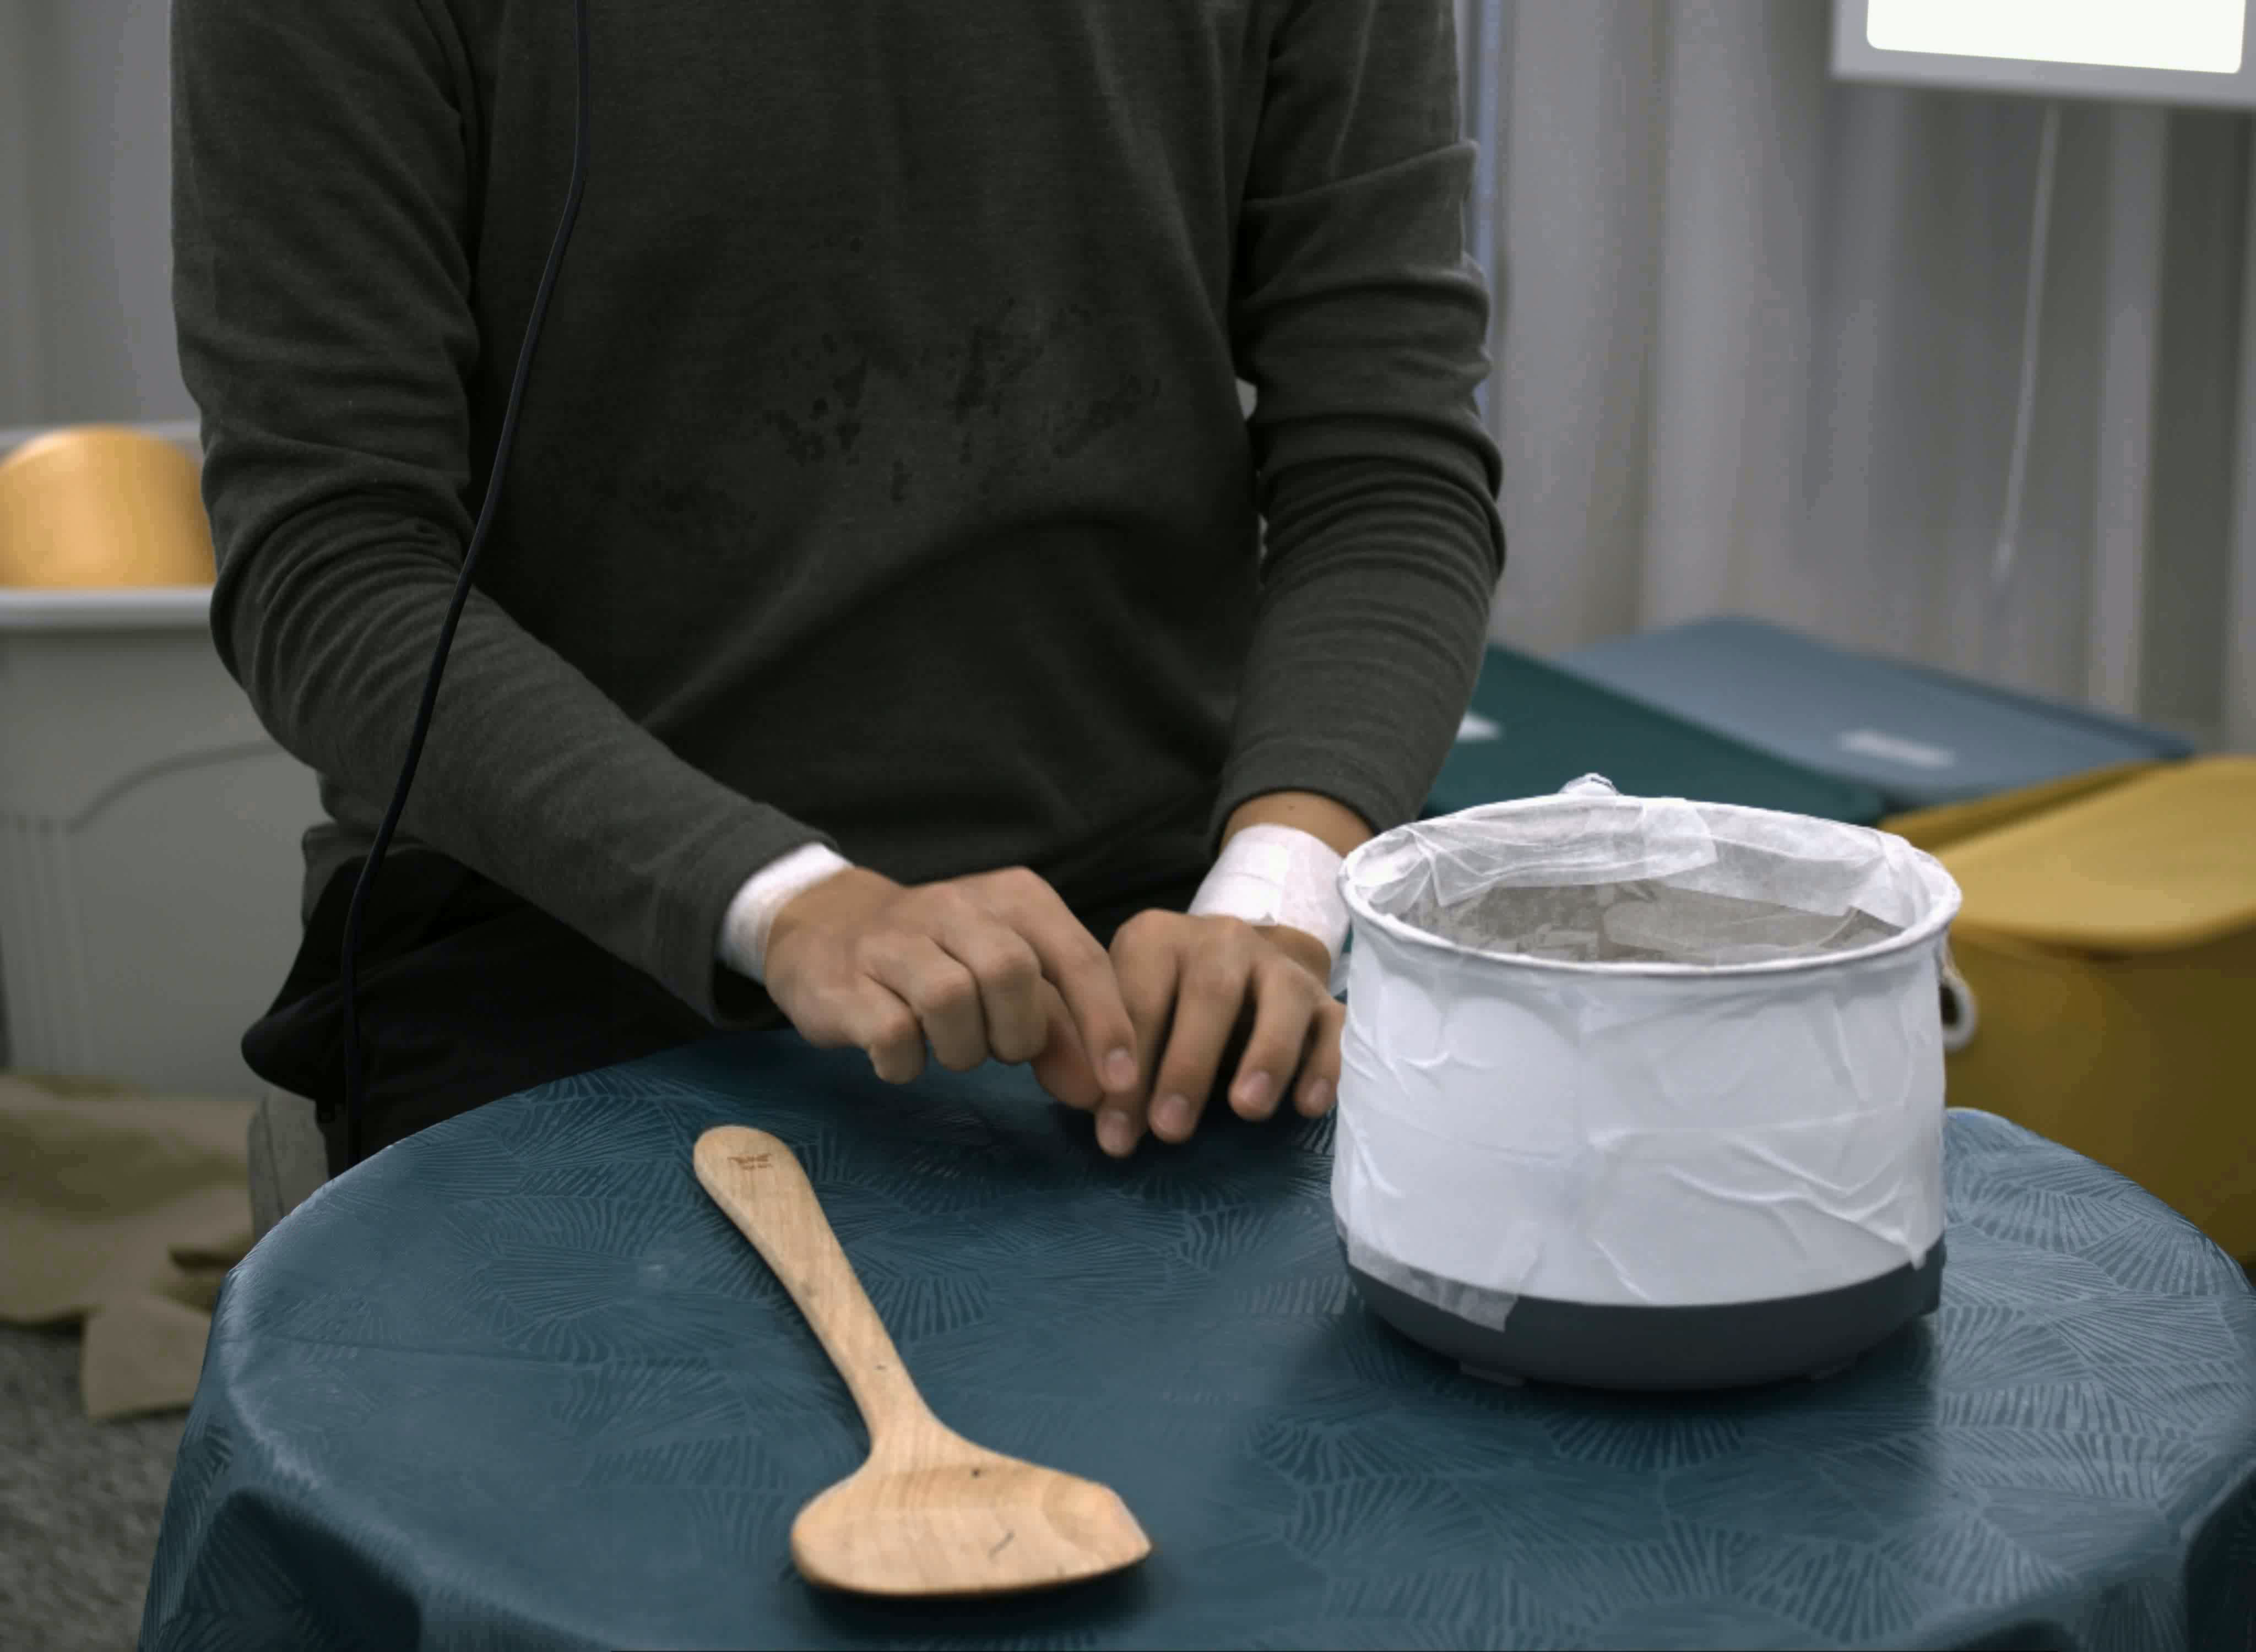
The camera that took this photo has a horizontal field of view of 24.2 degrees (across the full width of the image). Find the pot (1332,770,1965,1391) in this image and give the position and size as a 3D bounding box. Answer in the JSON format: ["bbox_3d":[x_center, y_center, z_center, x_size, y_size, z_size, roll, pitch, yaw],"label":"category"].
[{"bbox_3d":[0.144,0.068,1.530,0.178,0.138,0.232,-1,16,-6],"label":"pot"}]

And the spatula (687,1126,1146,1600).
[{"bbox_3d":[-0.083,0.144,1.474,0.096,0.018,0.387,-2,16,-15],"label":"spatula"}]
